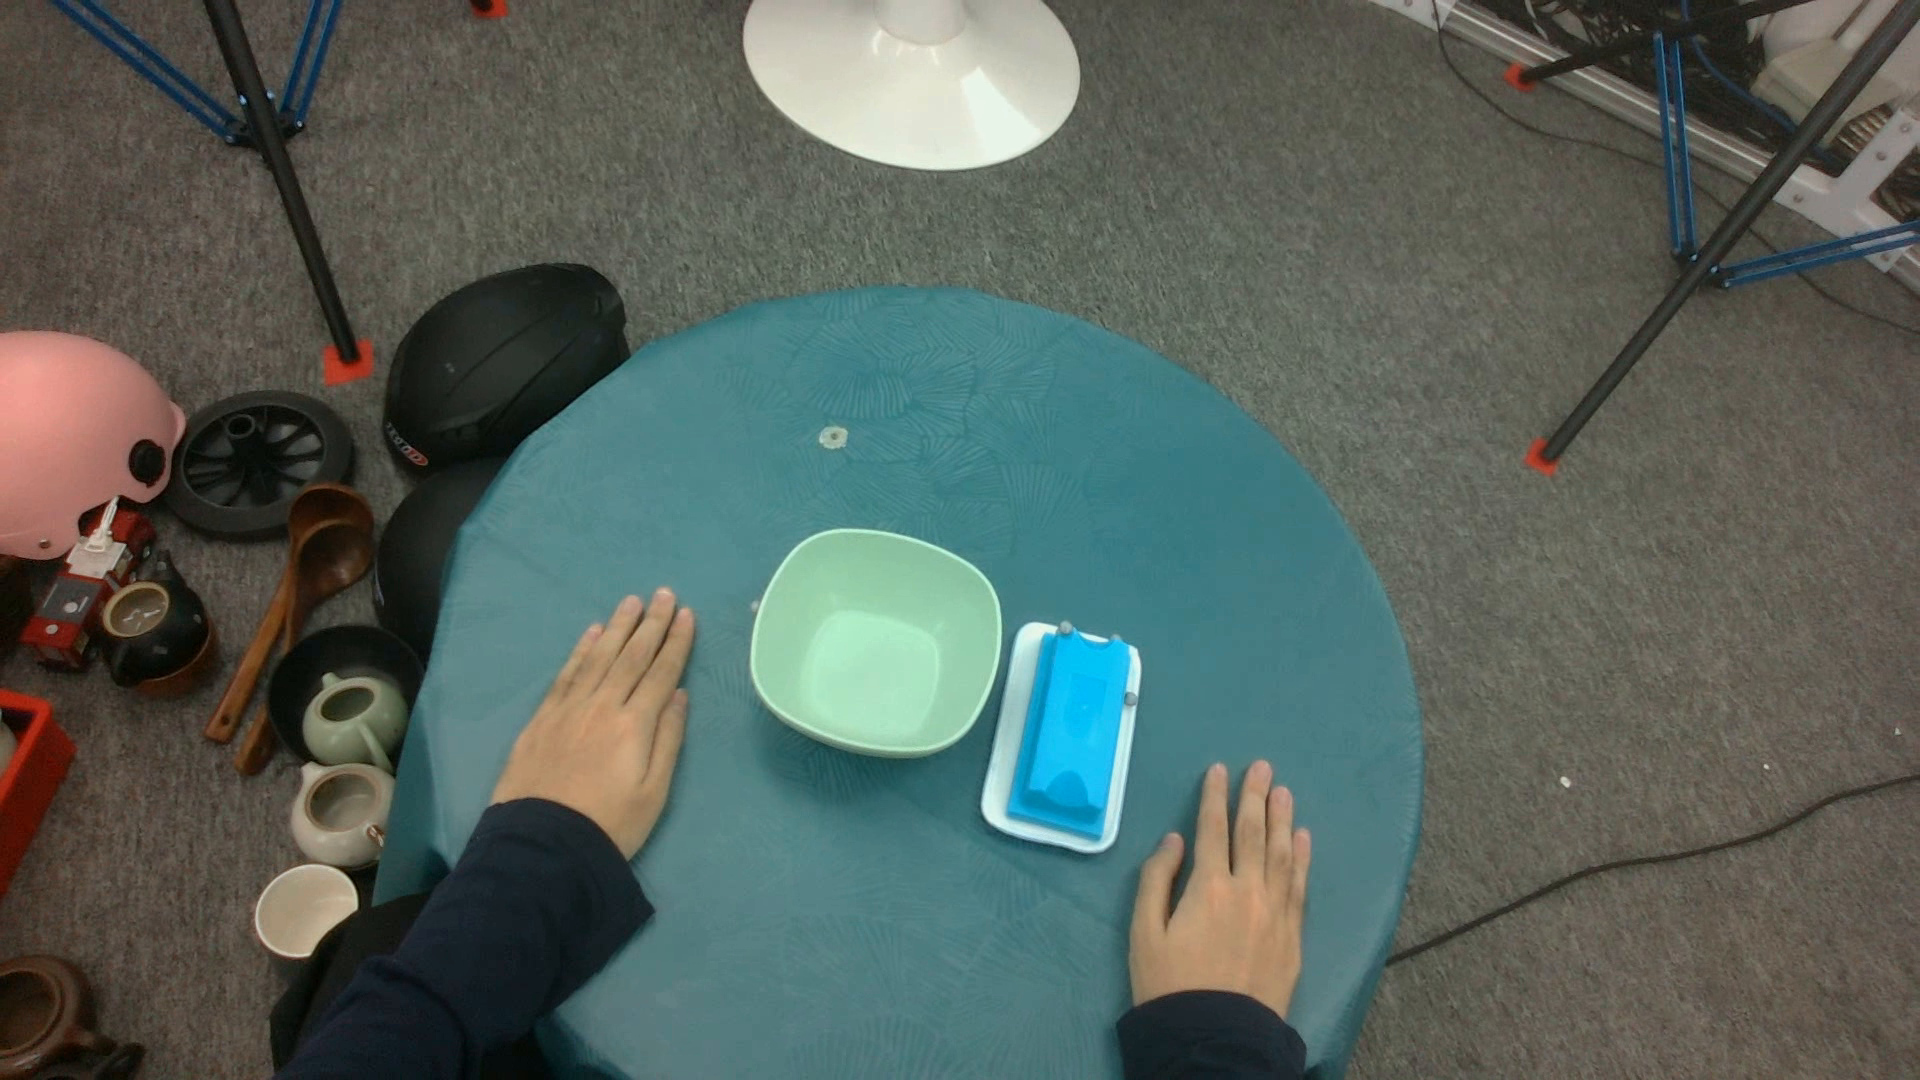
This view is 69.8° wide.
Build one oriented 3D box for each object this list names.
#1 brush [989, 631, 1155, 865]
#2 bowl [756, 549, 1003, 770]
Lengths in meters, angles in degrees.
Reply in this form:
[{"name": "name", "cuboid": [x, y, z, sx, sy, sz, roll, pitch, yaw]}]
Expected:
[{"name": "brush", "cuboid": [0.069, 0.113, 0.800, 0.084, 0.055, 0.144, 12, 53, 4]}, {"name": "bowl", "cuboid": [-0.047, 0.079, 0.808, 0.151, 0.058, 0.152, 3, 55, -4]}]
